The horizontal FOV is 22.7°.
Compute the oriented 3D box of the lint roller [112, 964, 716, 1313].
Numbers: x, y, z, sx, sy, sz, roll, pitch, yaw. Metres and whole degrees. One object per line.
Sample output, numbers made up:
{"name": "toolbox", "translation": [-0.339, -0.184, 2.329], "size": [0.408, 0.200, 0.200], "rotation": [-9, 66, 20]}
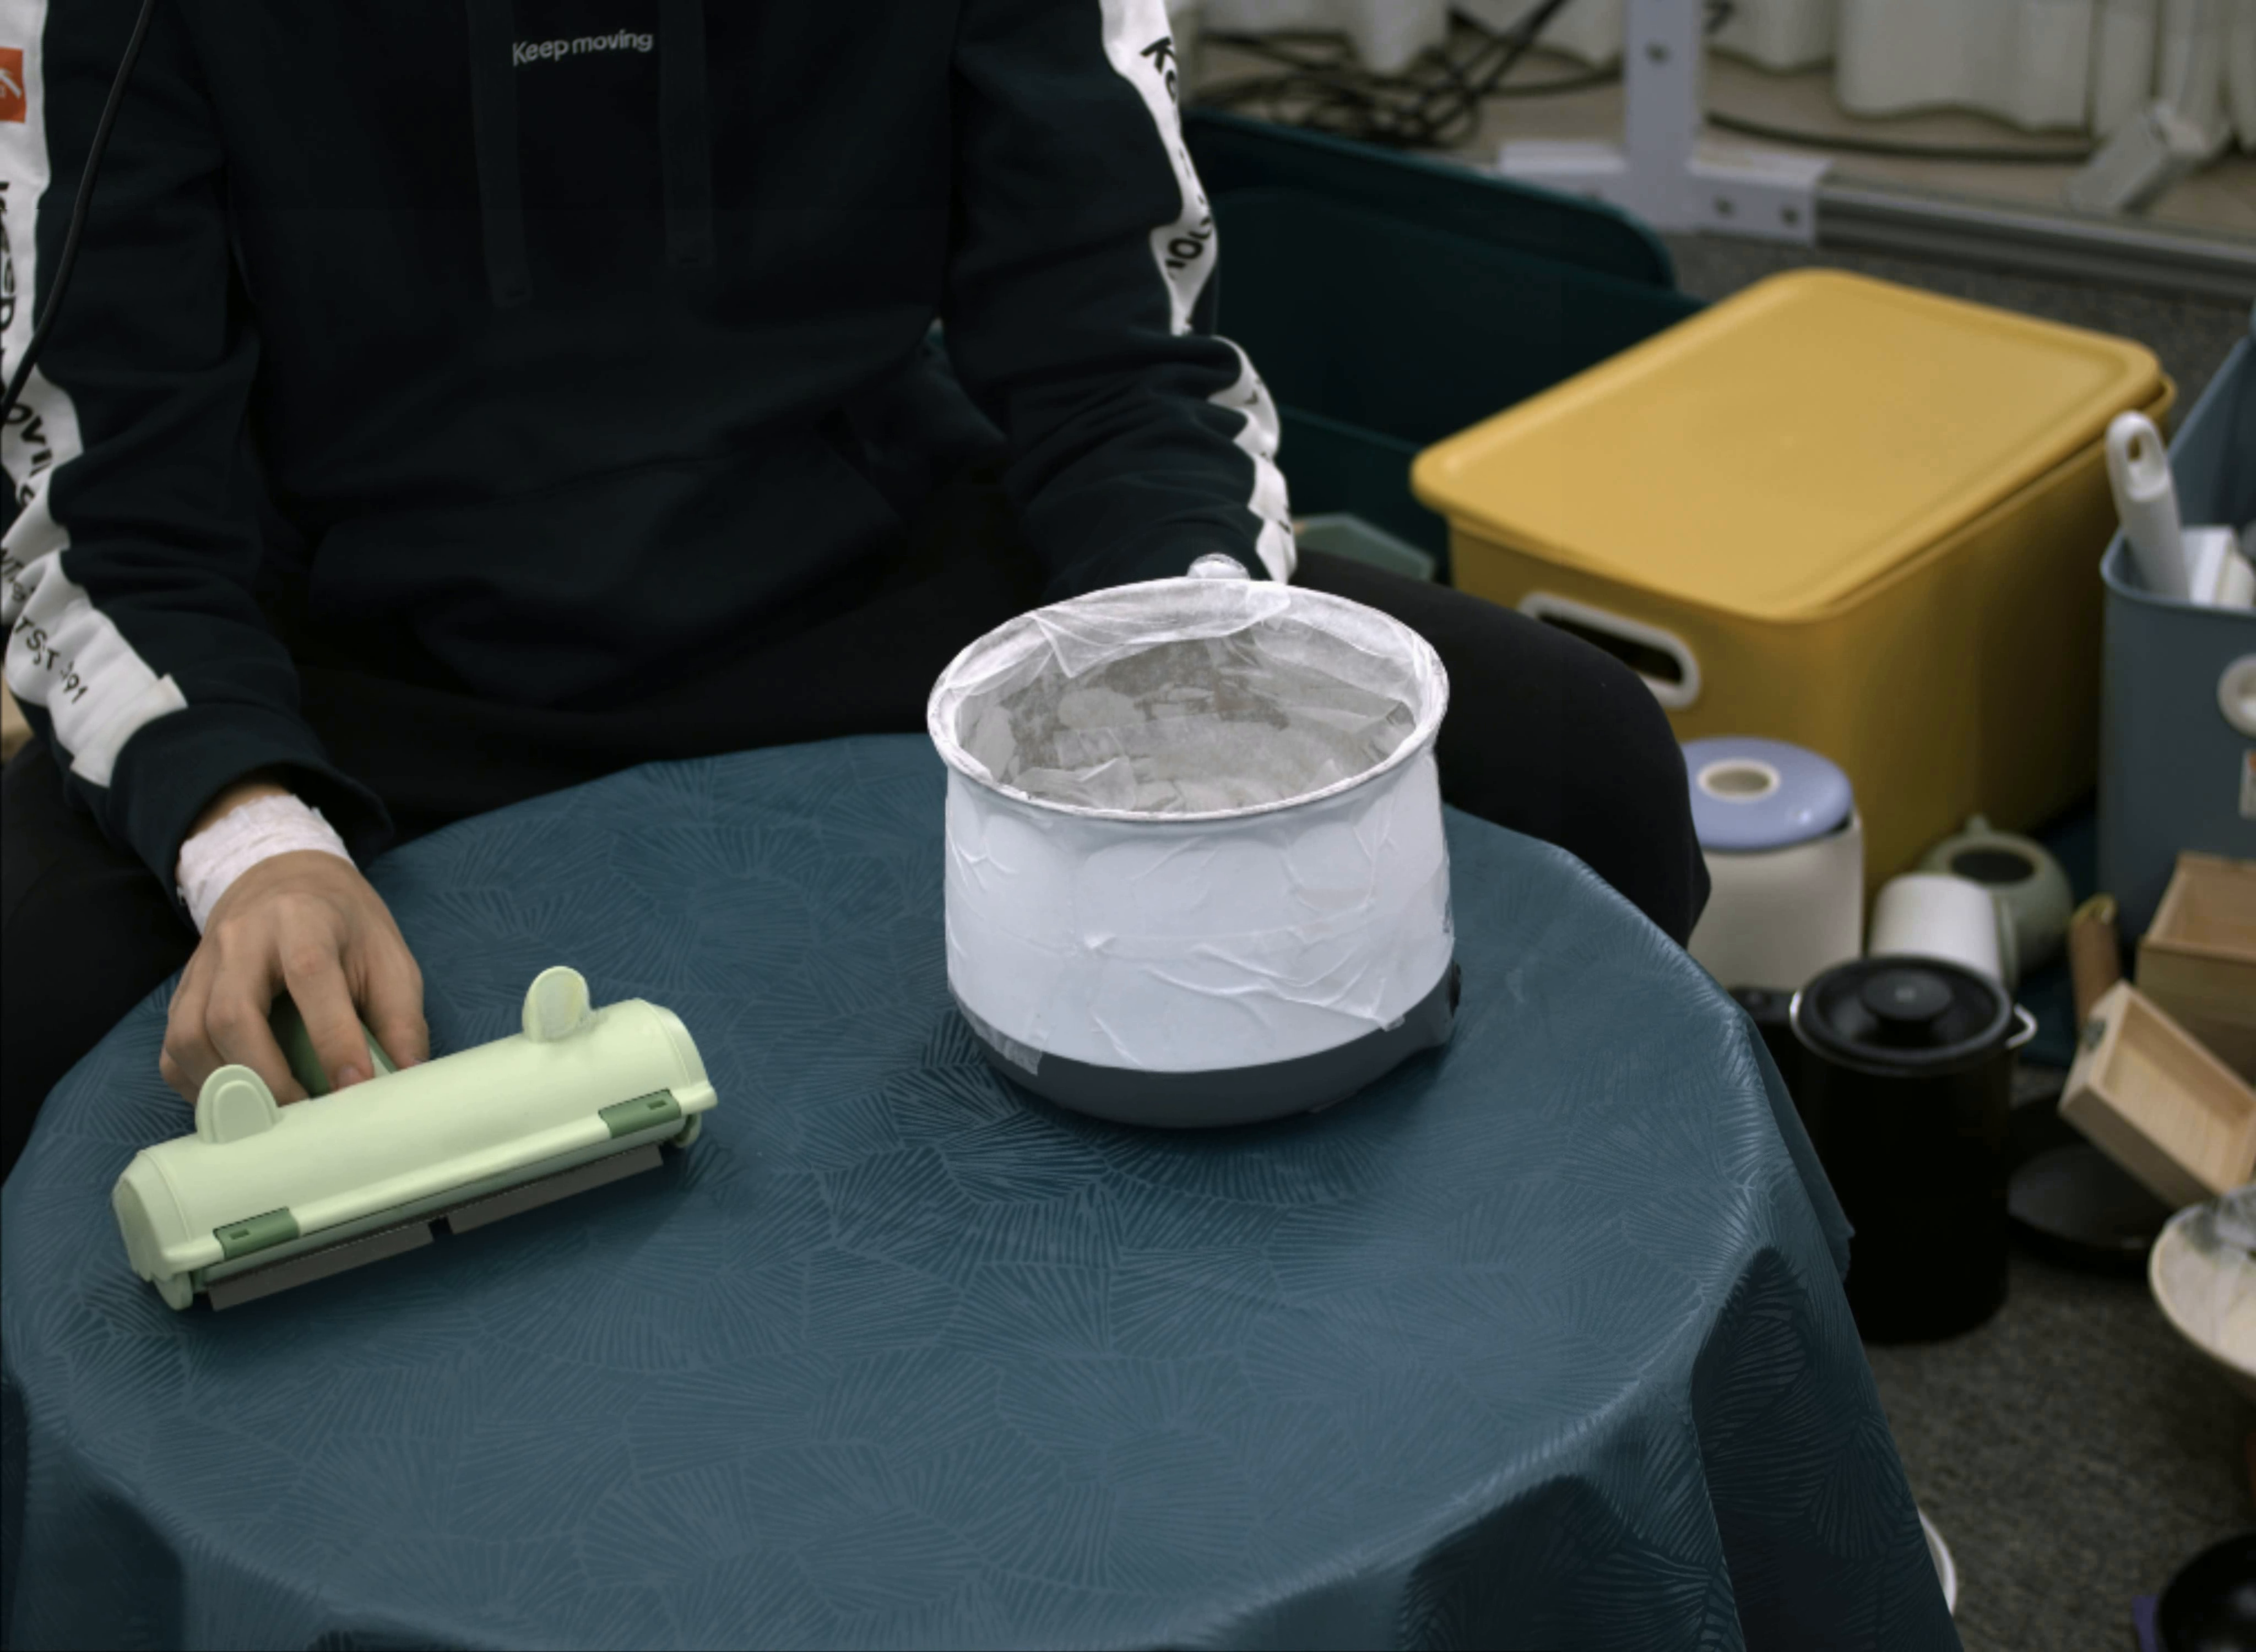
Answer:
{"name": "lint roller", "translation": [-0.262, 0.077, 1.891], "size": [0.200, 0.081, 0.184], "rotation": [-17, 35, -24]}

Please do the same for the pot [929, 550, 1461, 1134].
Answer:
{"name": "pot", "translation": [0.026, -0.002, 1.947], "size": [0.177, 0.135, 0.237], "rotation": [0, 28, 6]}
